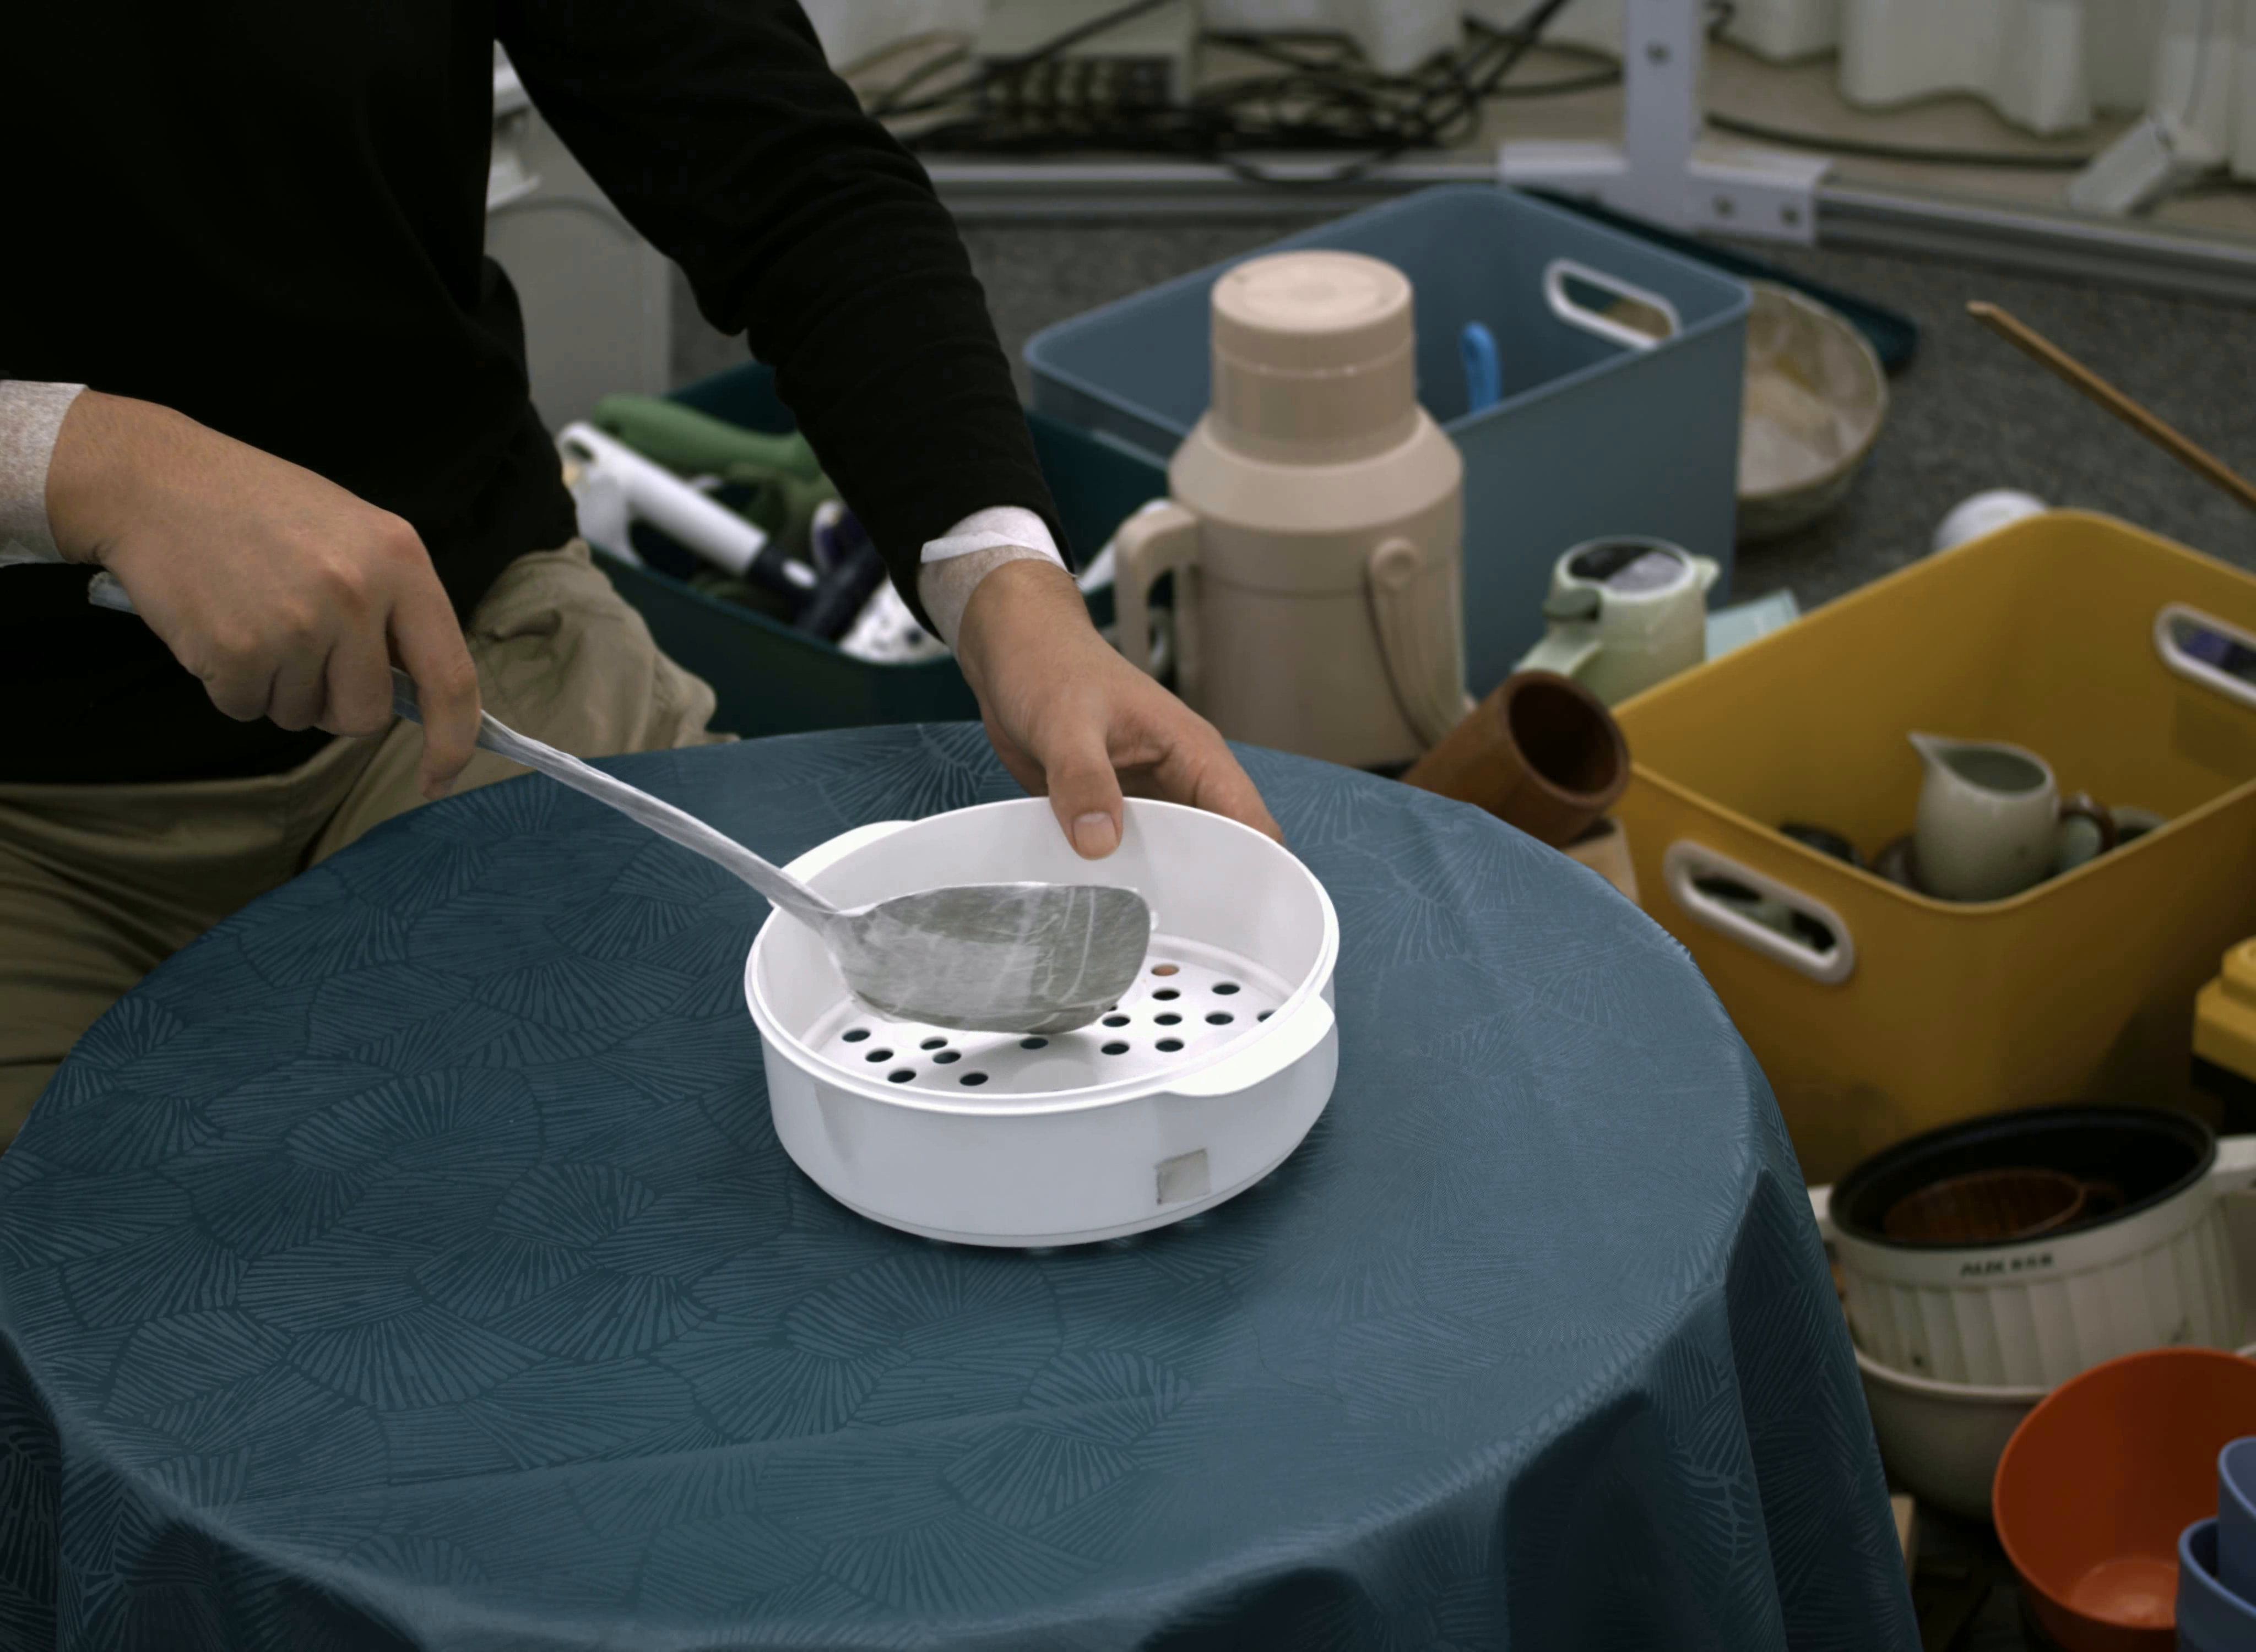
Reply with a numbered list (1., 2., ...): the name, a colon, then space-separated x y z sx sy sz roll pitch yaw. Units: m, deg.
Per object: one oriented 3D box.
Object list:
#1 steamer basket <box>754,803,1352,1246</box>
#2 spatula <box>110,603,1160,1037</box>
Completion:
1. steamer basket: -0.023 0.067 1.889 0.204 0.068 0.230 -28 35 -37
2. spatula: -0.164 -0.010 1.880 0.364 0.097 0.045 25 53 -3
